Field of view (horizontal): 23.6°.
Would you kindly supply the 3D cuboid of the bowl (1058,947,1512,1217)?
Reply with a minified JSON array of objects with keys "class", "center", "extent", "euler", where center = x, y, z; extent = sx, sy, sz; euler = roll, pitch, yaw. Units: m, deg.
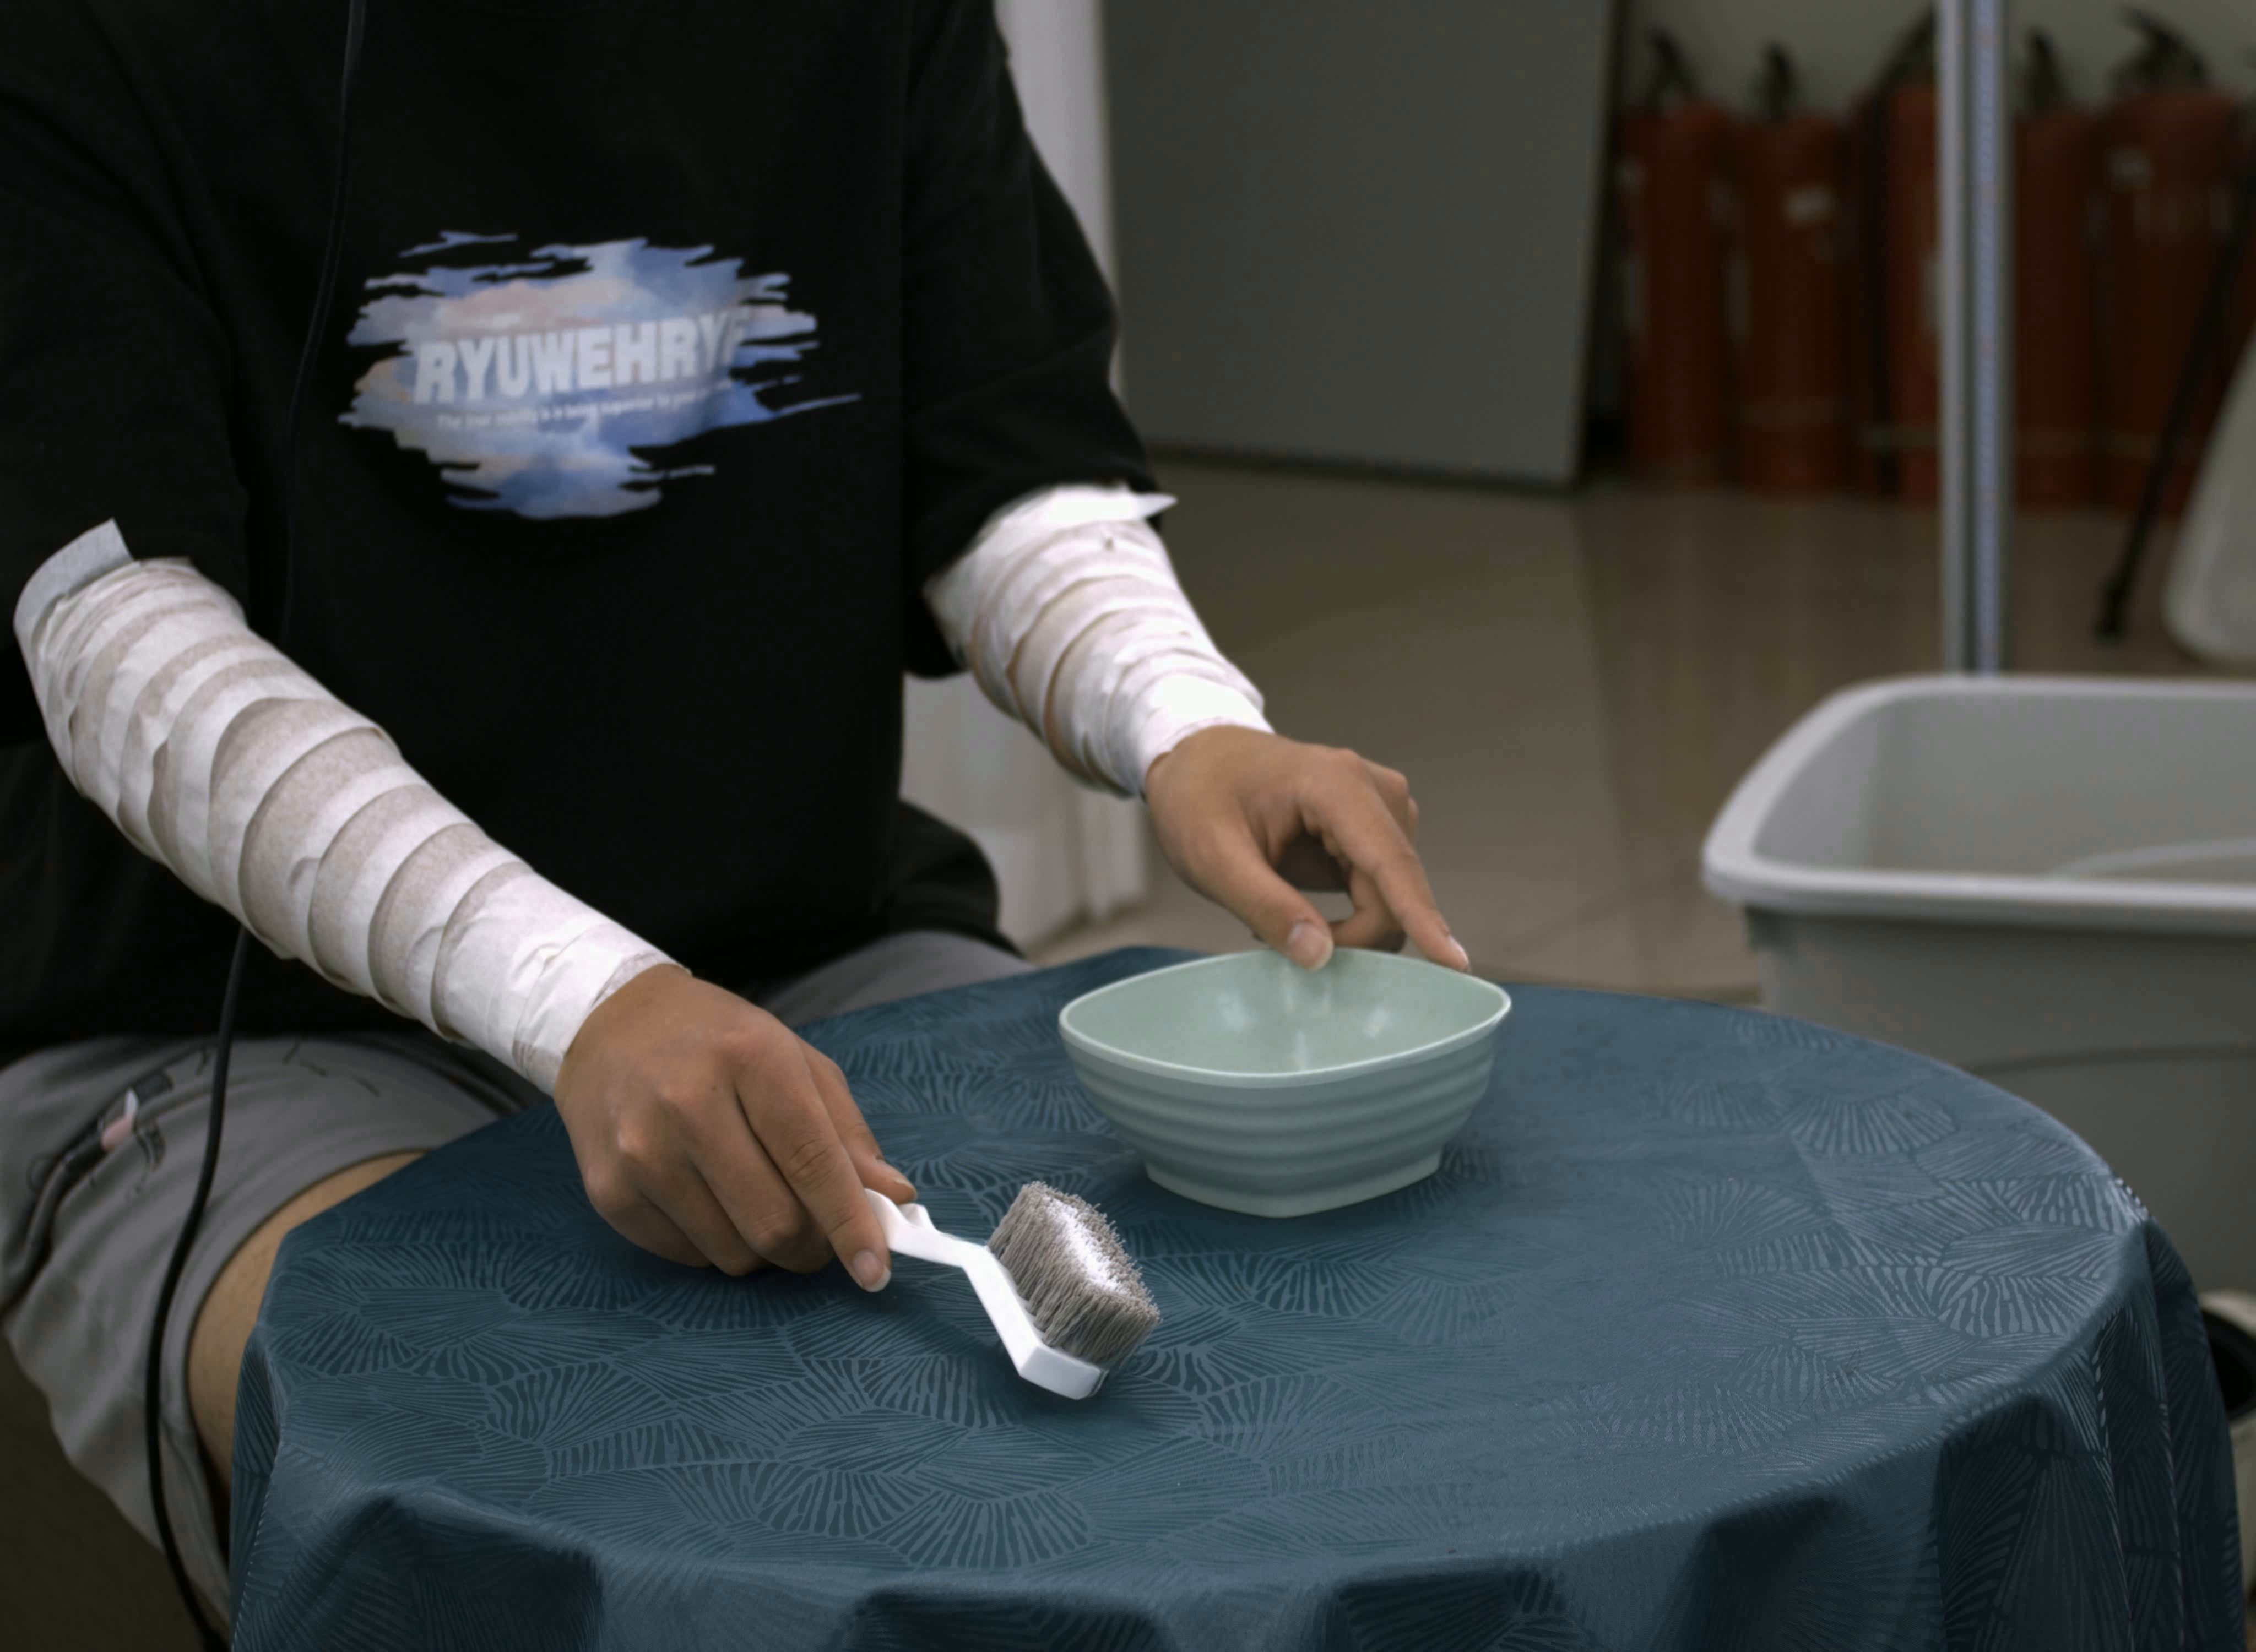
[{"class":"bowl","center":[0.052,0.087,1.775],"extent":[0.149,0.059,0.151],"euler":[-2,13,-1]}]

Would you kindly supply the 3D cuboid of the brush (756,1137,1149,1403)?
[{"class":"brush","center":[-0.057,0.117,1.665],"extent":[0.033,0.051,0.246],"euler":[19,5,-28]}]
